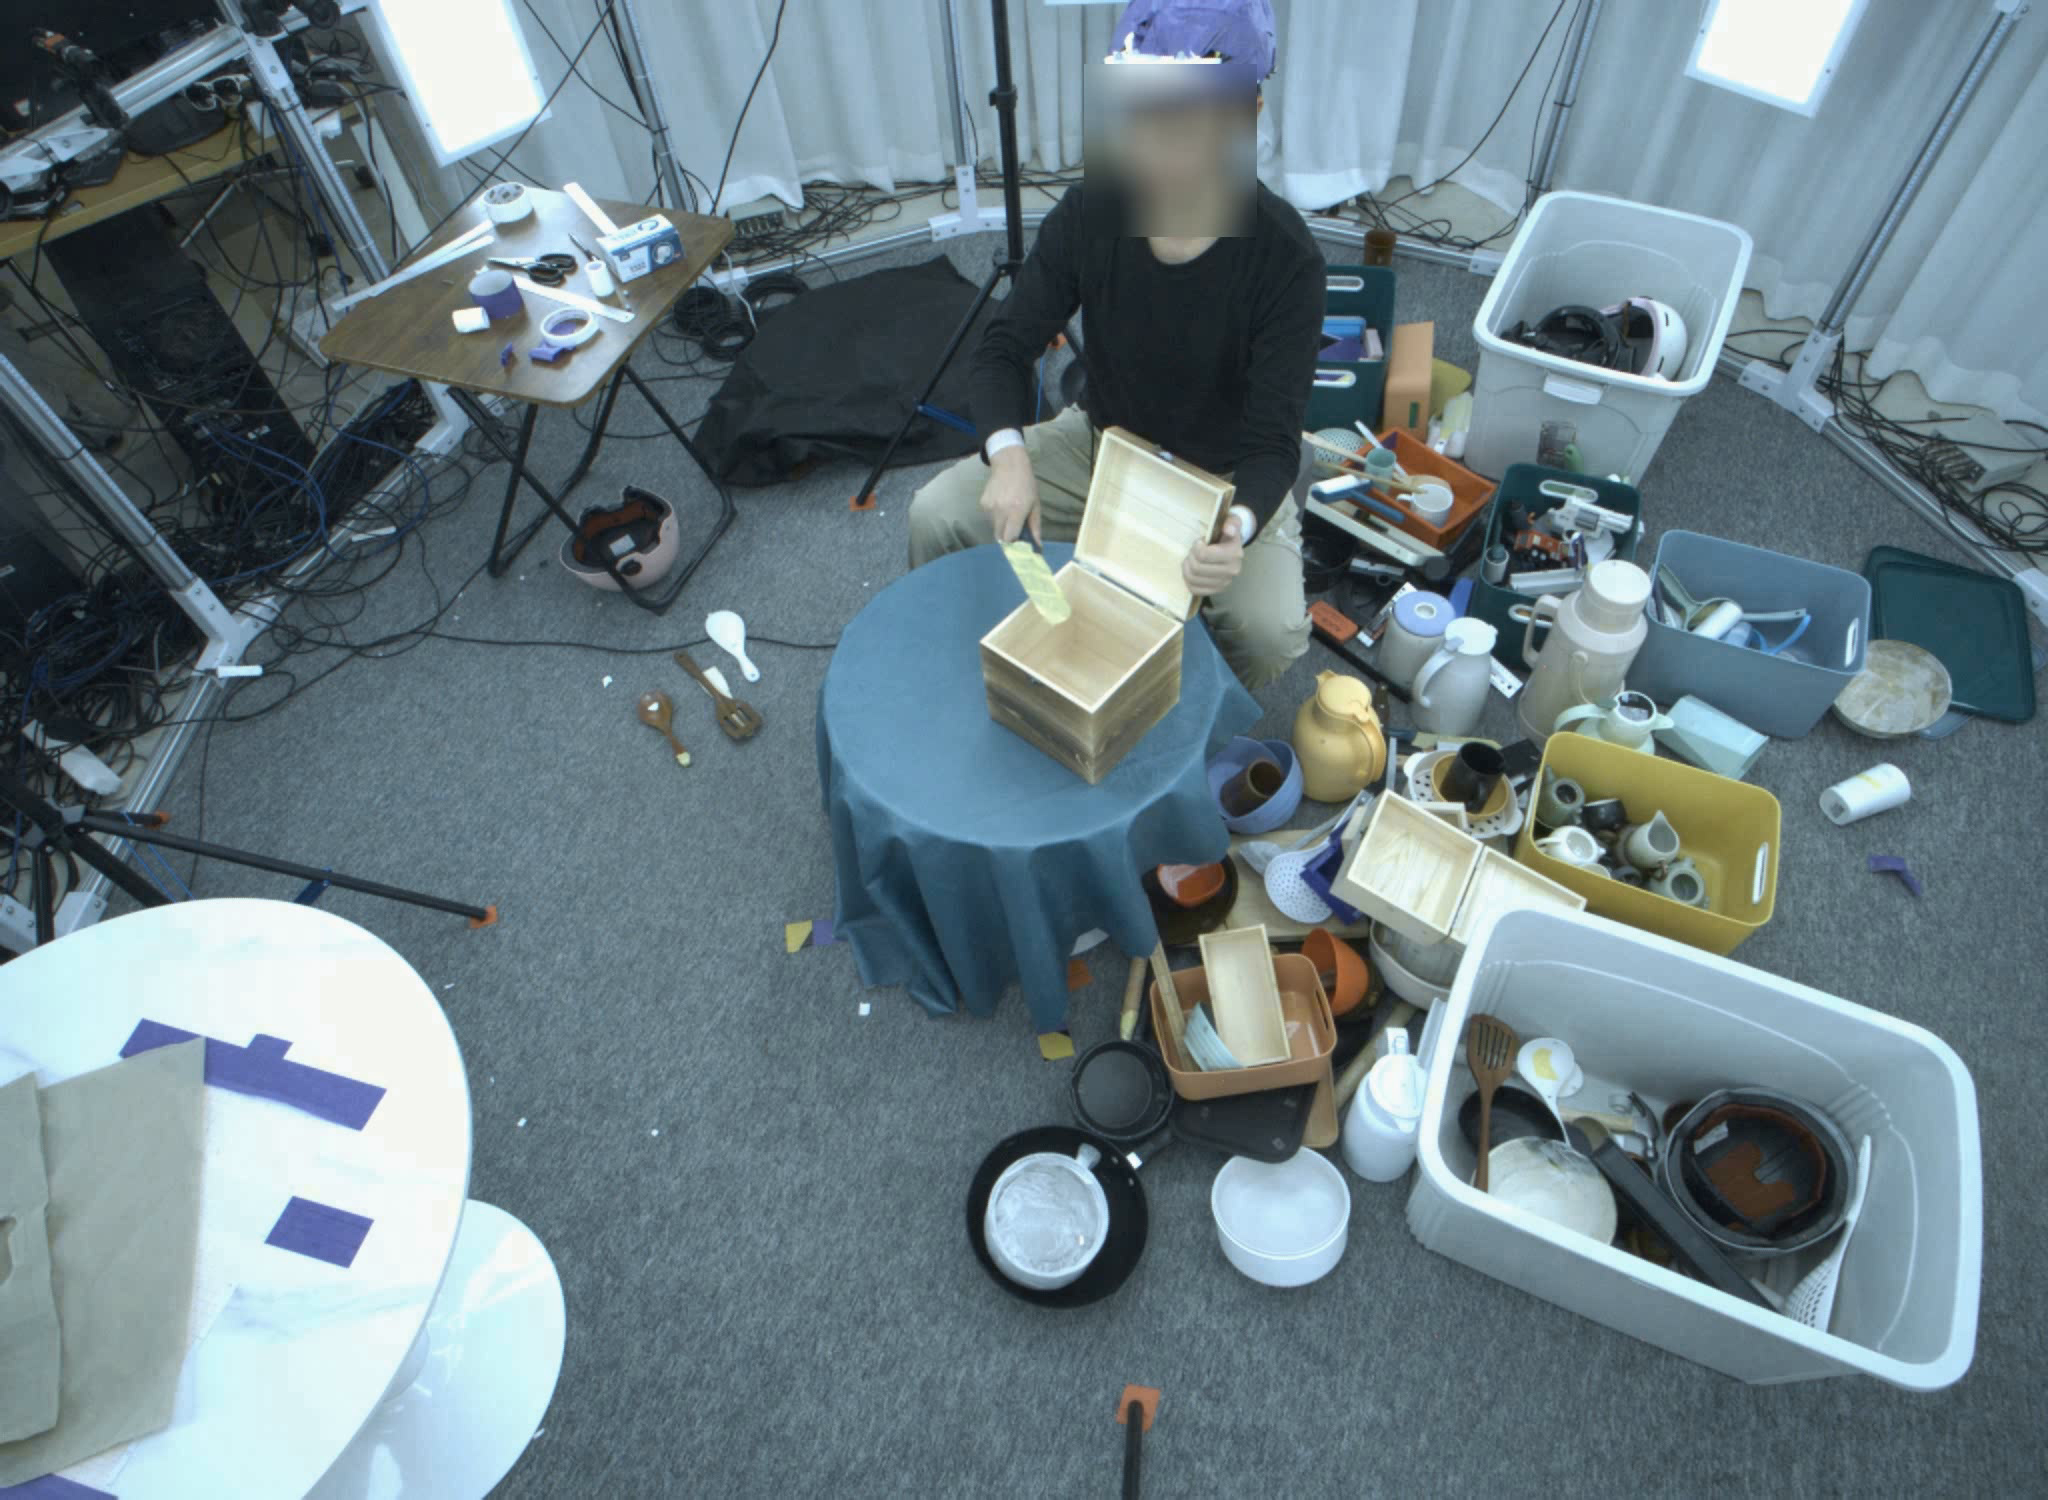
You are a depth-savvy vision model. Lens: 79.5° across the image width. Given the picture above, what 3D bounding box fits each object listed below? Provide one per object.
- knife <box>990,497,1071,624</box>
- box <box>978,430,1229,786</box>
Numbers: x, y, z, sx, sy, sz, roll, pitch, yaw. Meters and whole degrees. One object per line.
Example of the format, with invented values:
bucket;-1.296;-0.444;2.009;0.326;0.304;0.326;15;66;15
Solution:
knife;-0.001;-0.274;1.750;0.083;0.027;0.284;12;40;-39
box;0.110;-0.201;1.706;0.205;0.379;0.324;33;61;25
